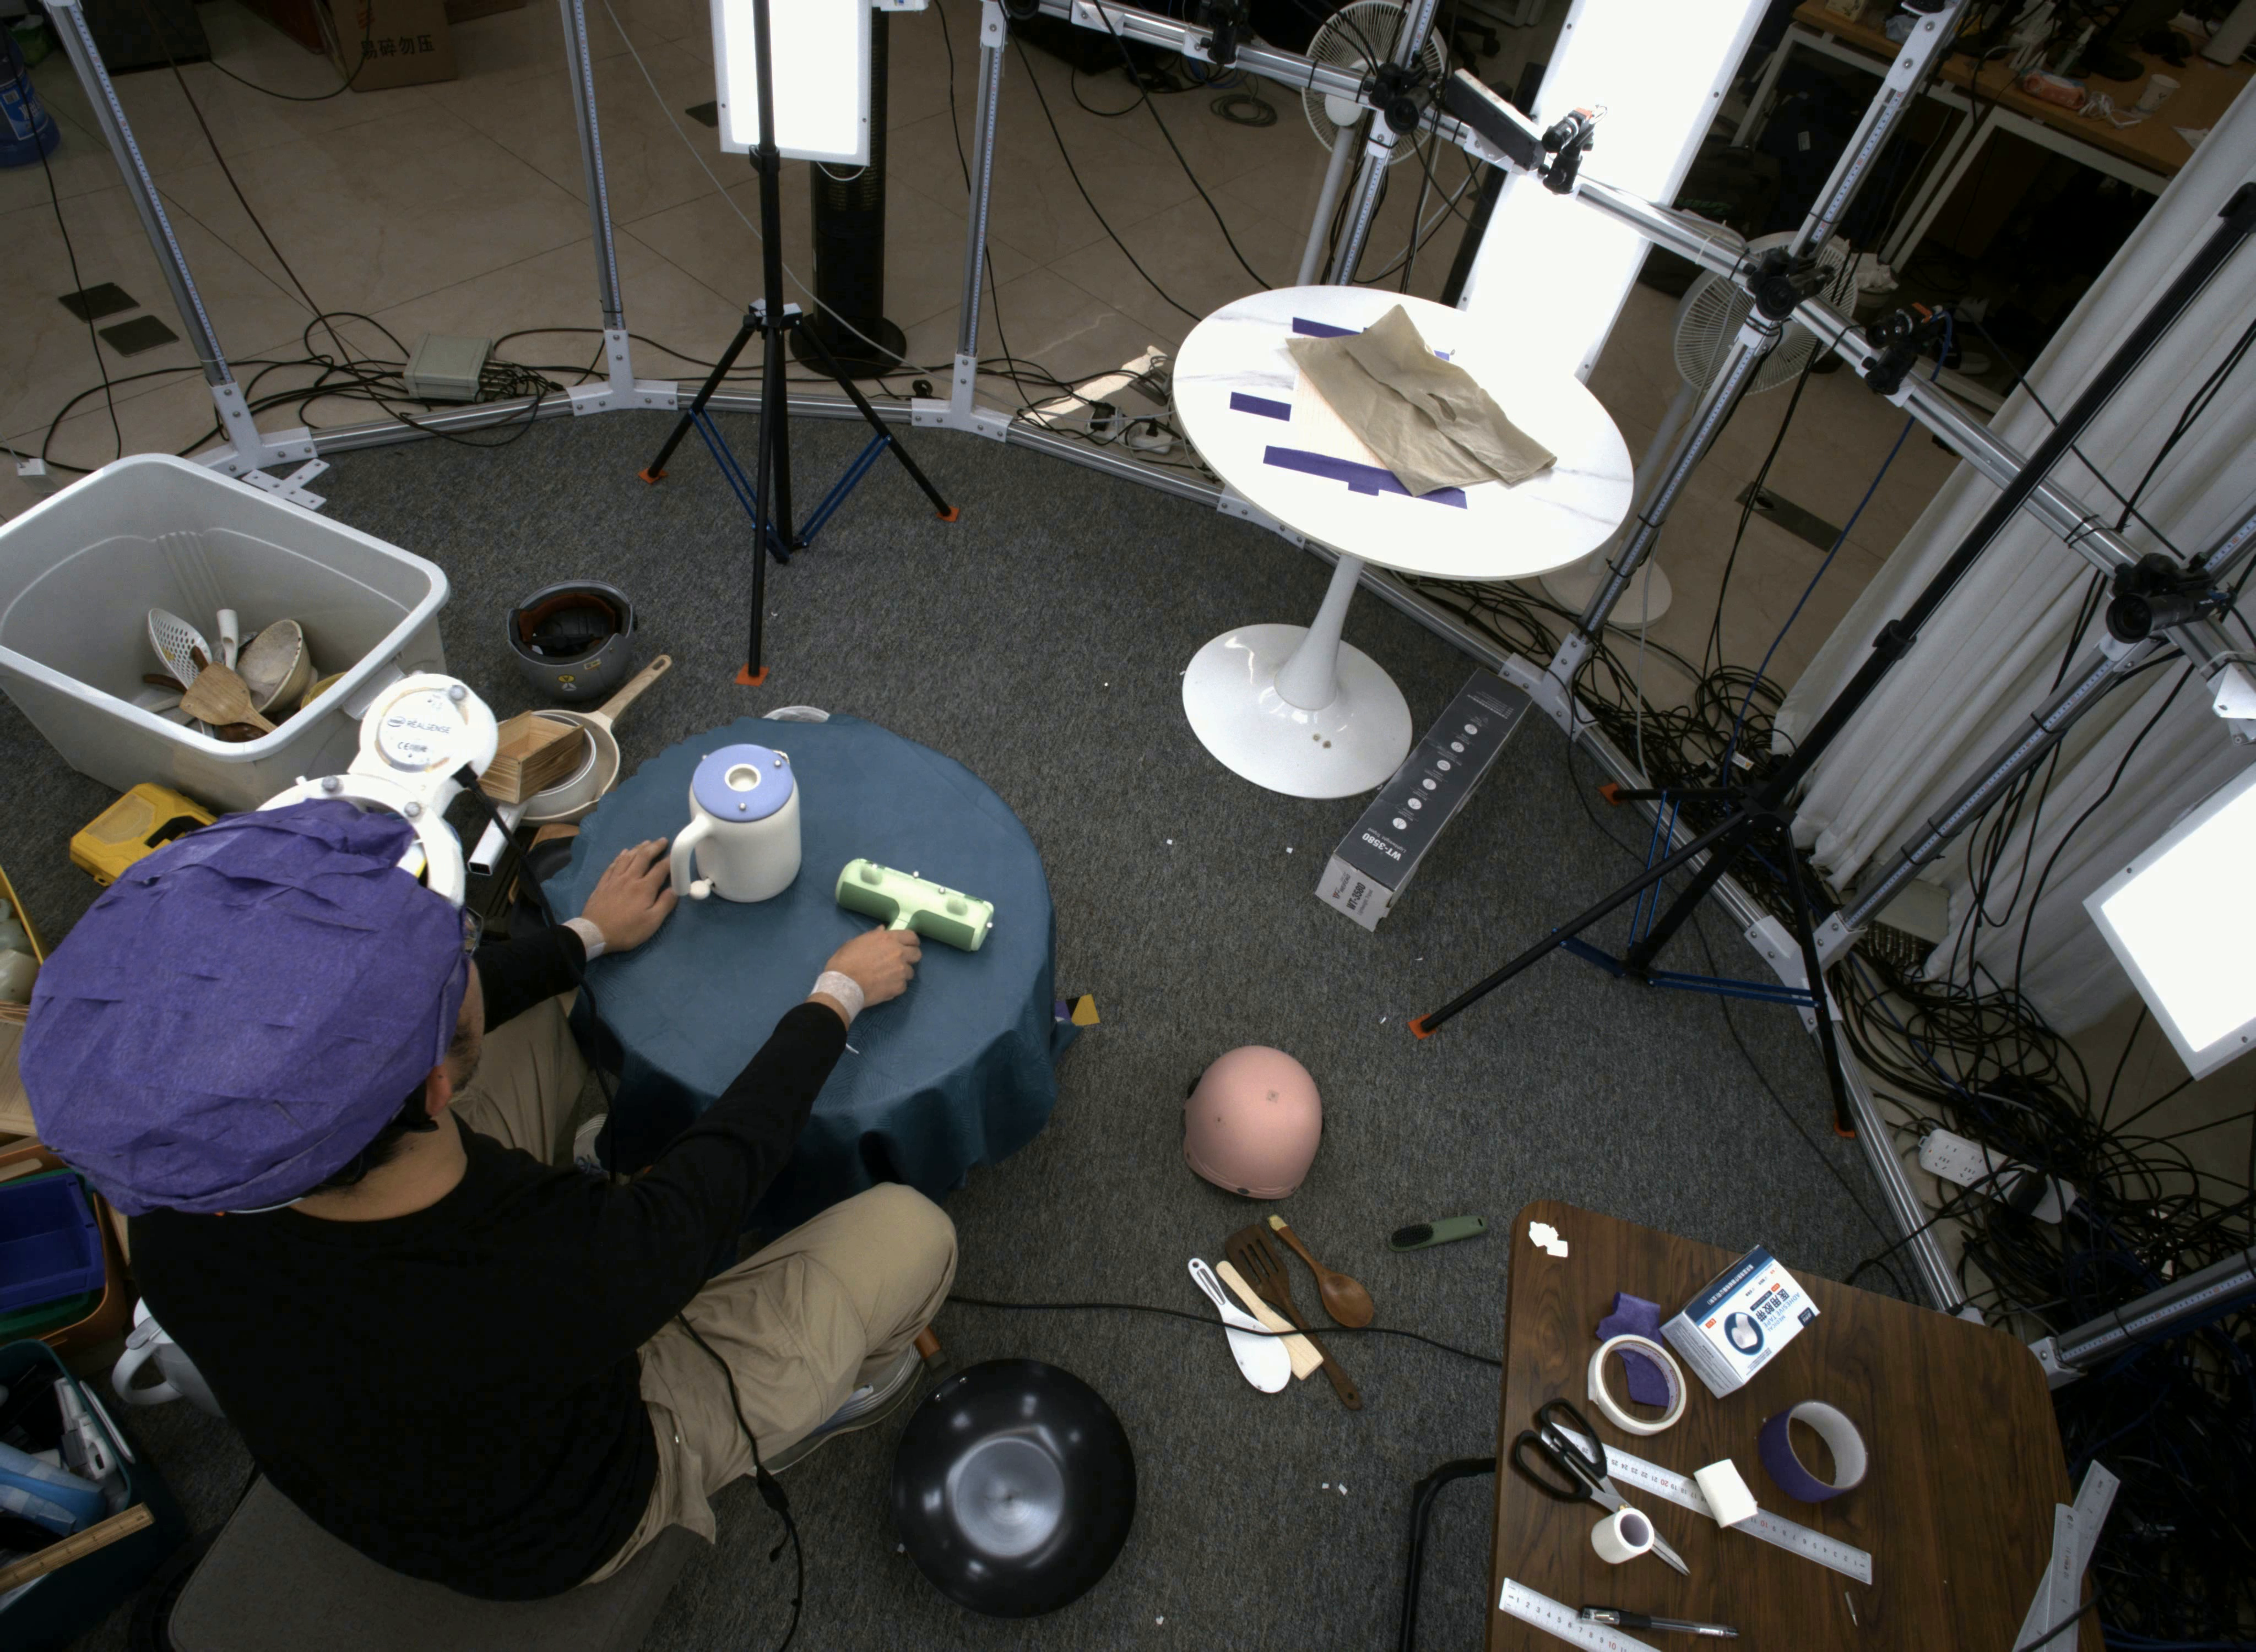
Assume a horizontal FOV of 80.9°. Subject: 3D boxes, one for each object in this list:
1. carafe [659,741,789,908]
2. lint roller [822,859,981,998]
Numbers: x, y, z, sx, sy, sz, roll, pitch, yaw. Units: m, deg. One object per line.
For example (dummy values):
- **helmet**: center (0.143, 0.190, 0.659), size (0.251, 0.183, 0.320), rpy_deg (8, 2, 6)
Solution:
- **carafe**: center (-0.502, 0.012, 1.578), size (0.129, 0.186, 0.191), rpy_deg (31, 55, 13)
- **lint roller**: center (-0.299, 0.124, 1.600), size (0.196, 0.084, 0.181), rpy_deg (18, 40, 2)
